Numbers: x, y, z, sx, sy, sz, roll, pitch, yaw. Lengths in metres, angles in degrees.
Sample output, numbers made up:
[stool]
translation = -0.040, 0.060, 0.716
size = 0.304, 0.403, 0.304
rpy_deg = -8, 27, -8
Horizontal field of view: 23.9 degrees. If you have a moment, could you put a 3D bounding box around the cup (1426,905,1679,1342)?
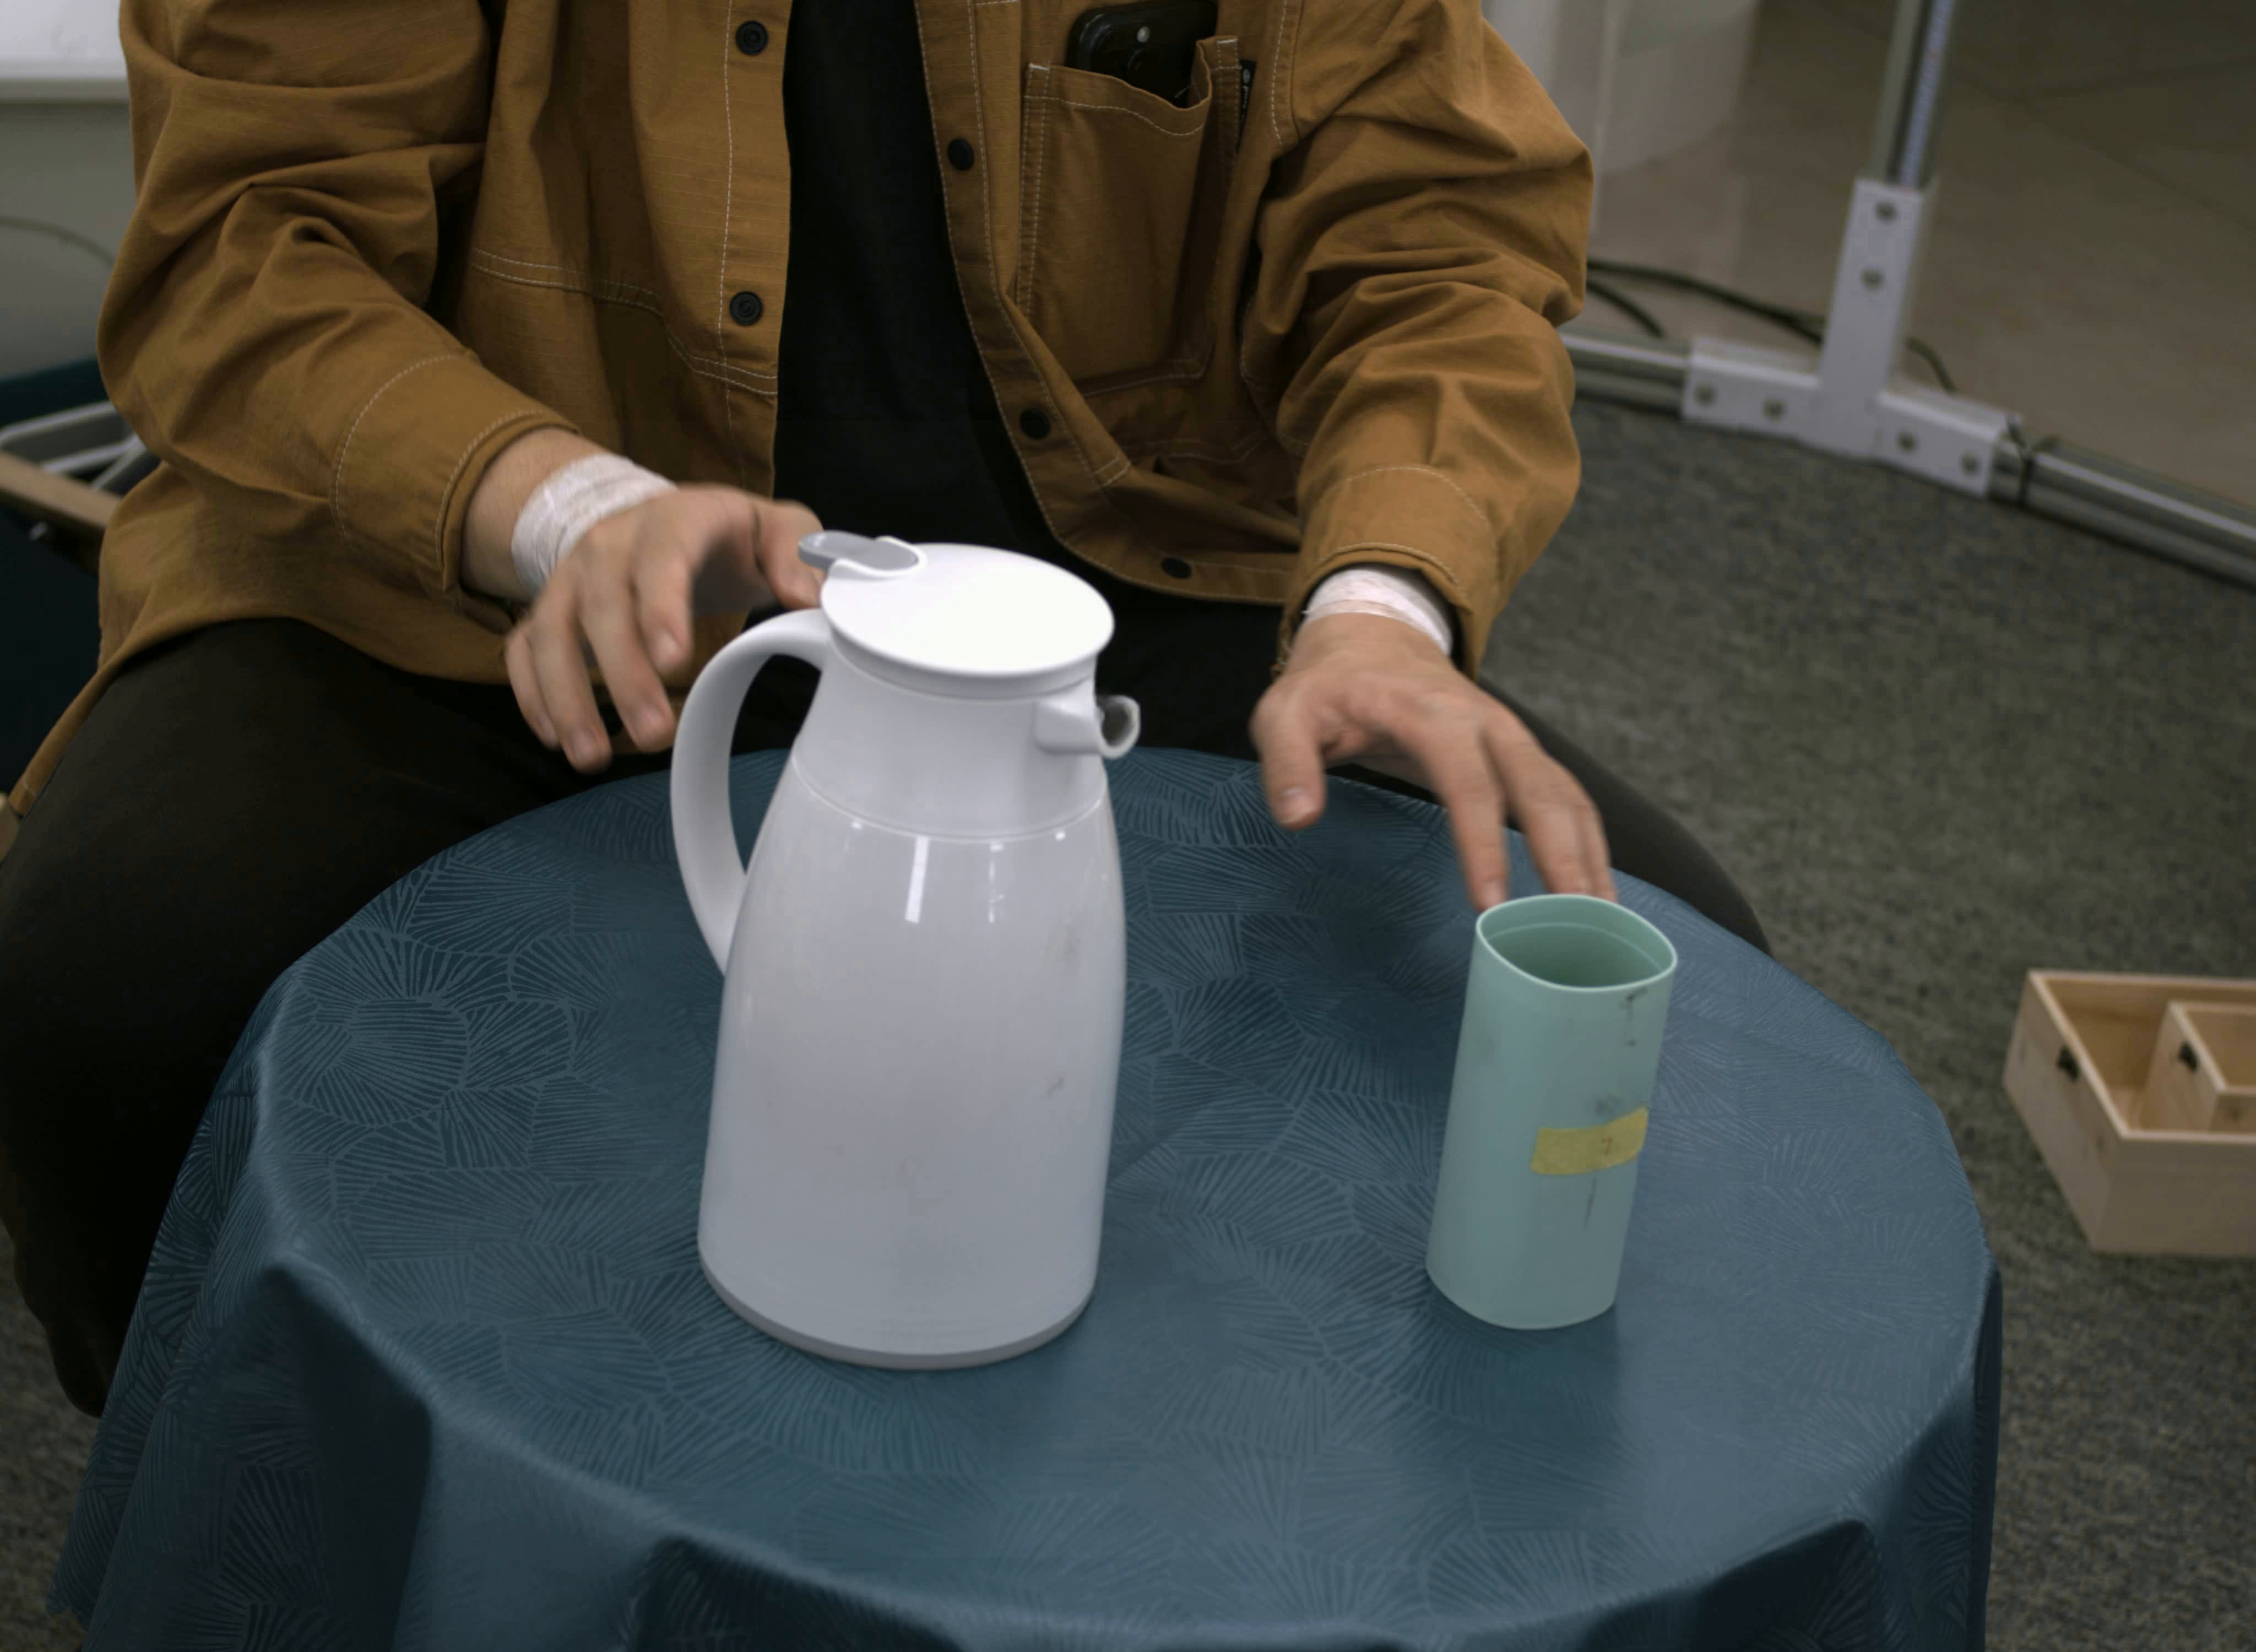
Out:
[cup]
translation = 0.138, 0.097, 1.752
size = 0.066, 0.132, 0.067
rpy_deg = 6, 26, -3

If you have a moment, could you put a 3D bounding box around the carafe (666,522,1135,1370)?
[carafe]
translation = -0.080, 0.028, 1.703
size = 0.168, 0.248, 0.132
rpy_deg = 22, 30, 29
